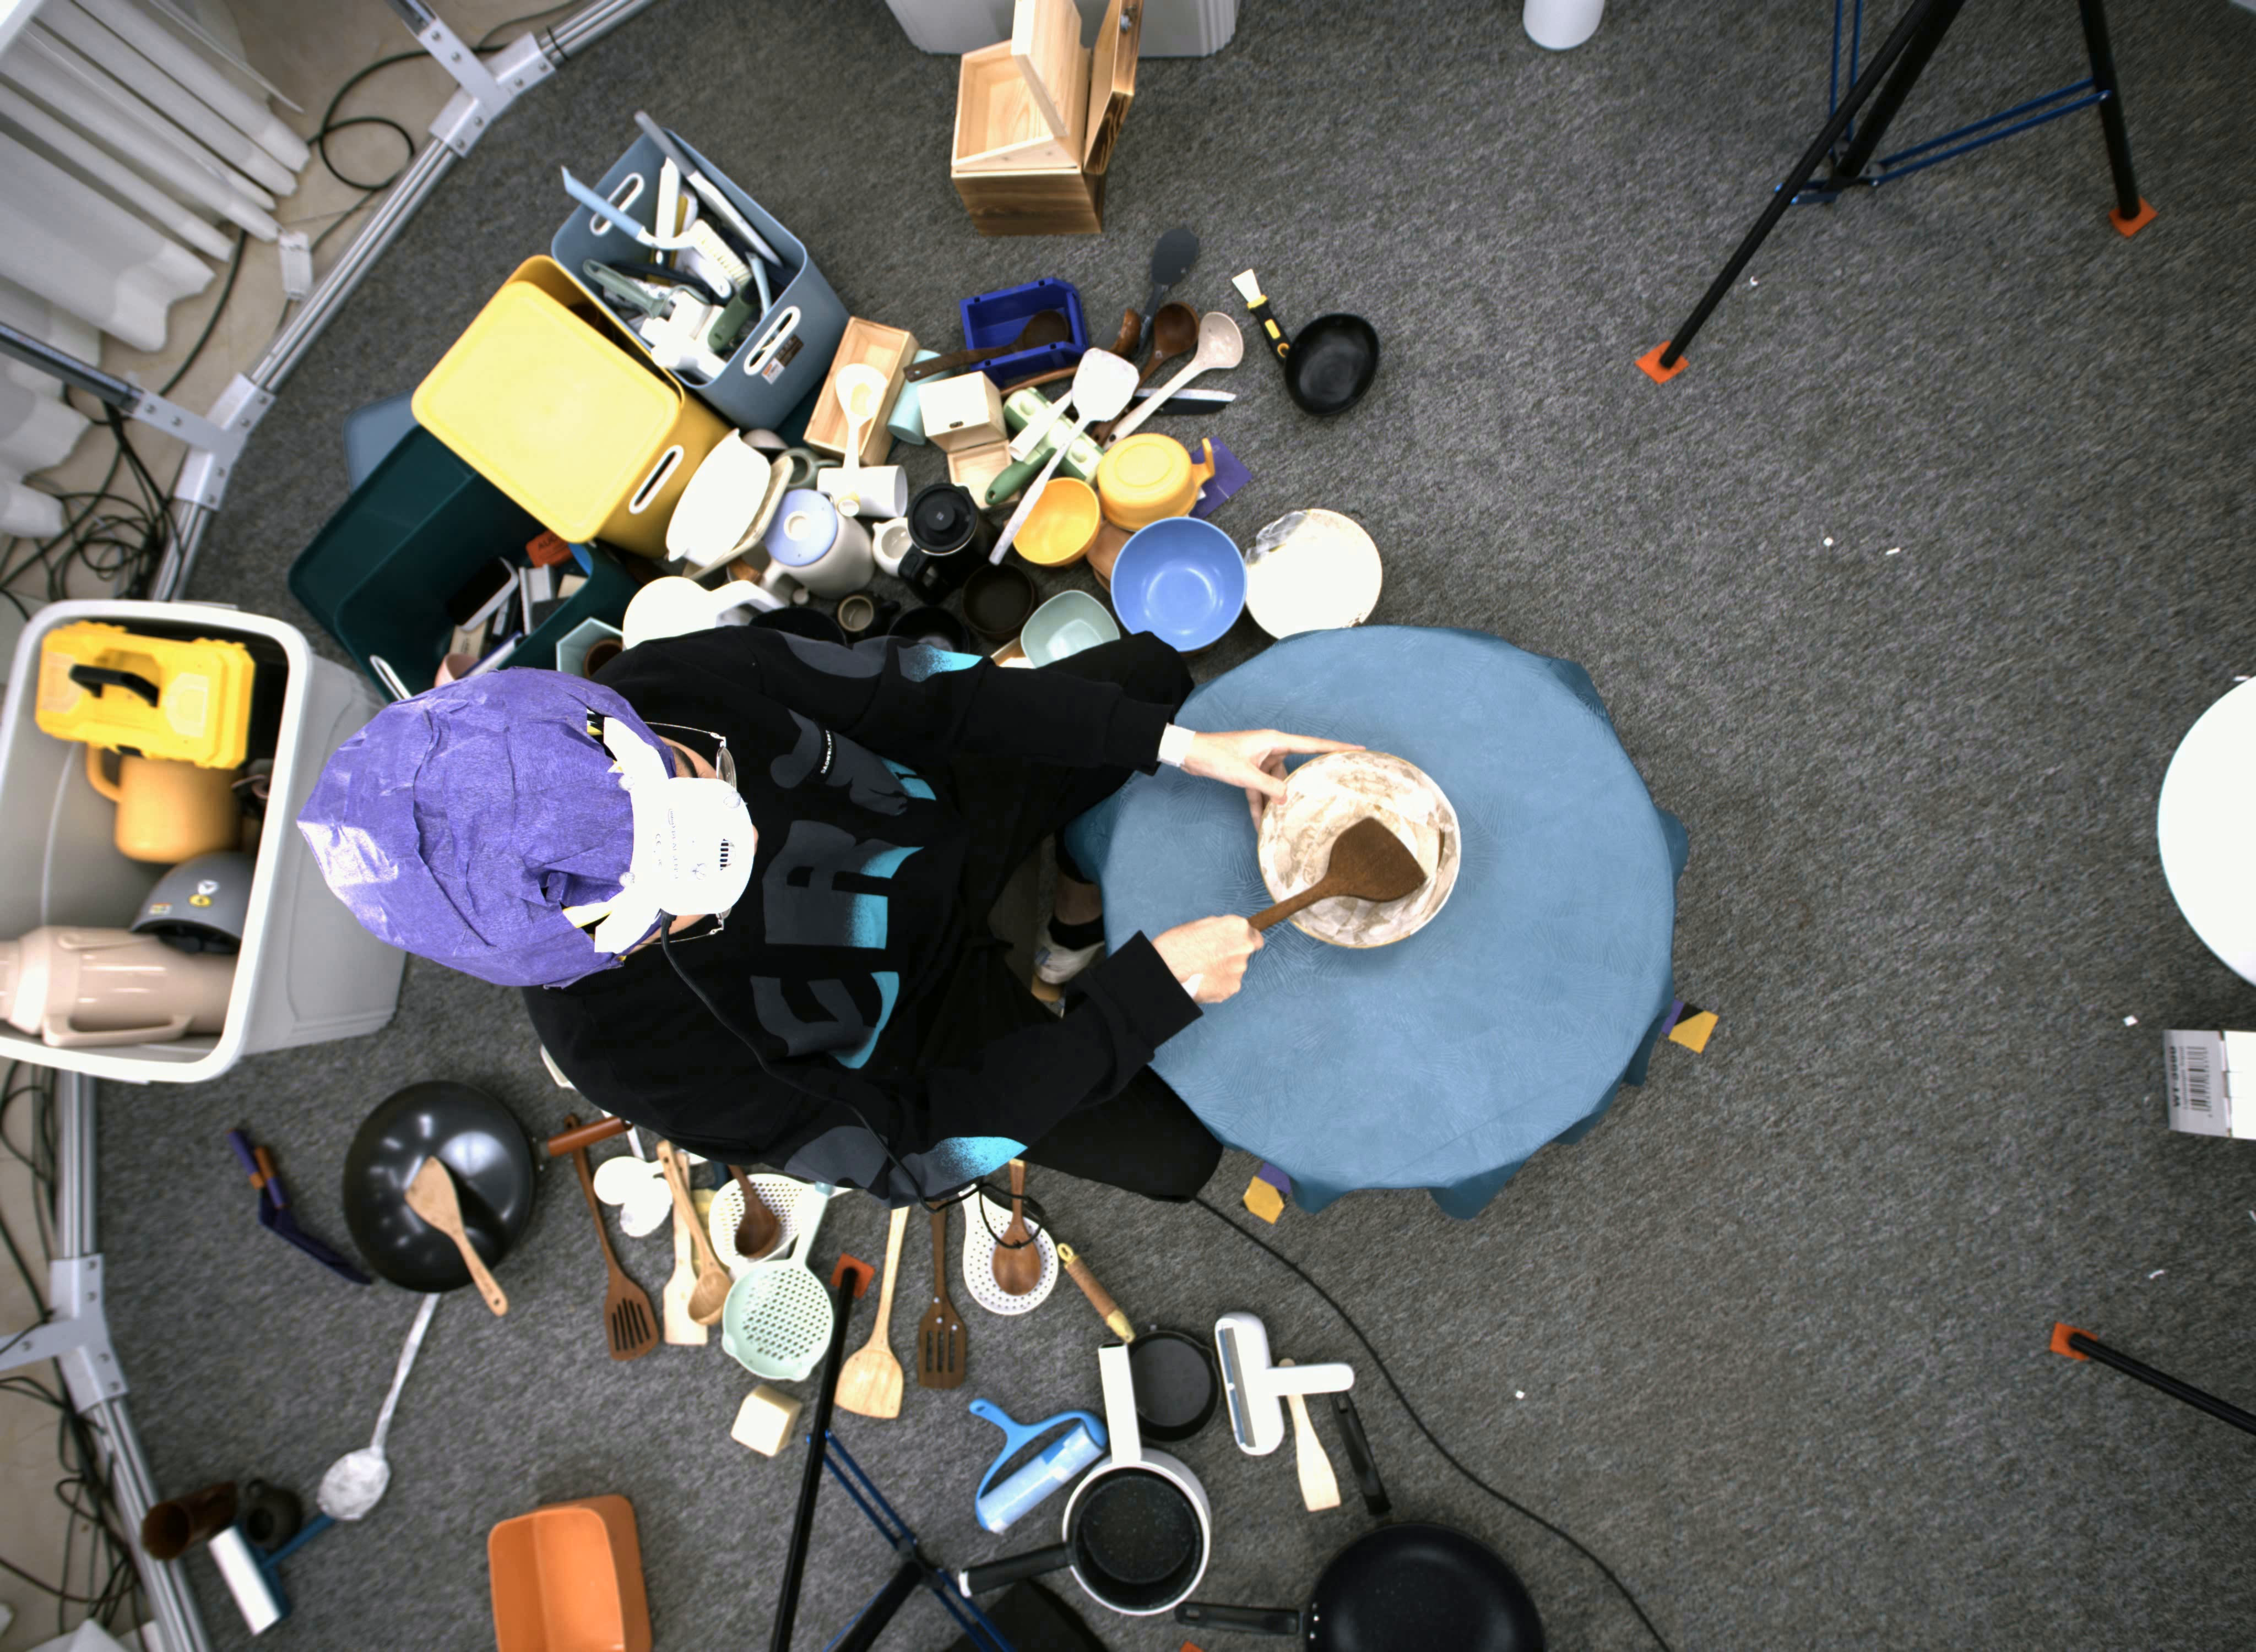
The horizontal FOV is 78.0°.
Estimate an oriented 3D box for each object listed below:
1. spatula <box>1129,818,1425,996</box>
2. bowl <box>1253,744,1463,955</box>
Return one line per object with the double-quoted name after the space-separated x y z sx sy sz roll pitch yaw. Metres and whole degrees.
0.148 0.083 1.347 0.380 0.016 0.095 -23 67 -35 "spatula"
0.237 0.024 1.425 0.215 0.094 0.214 0 91 11 "bowl"
